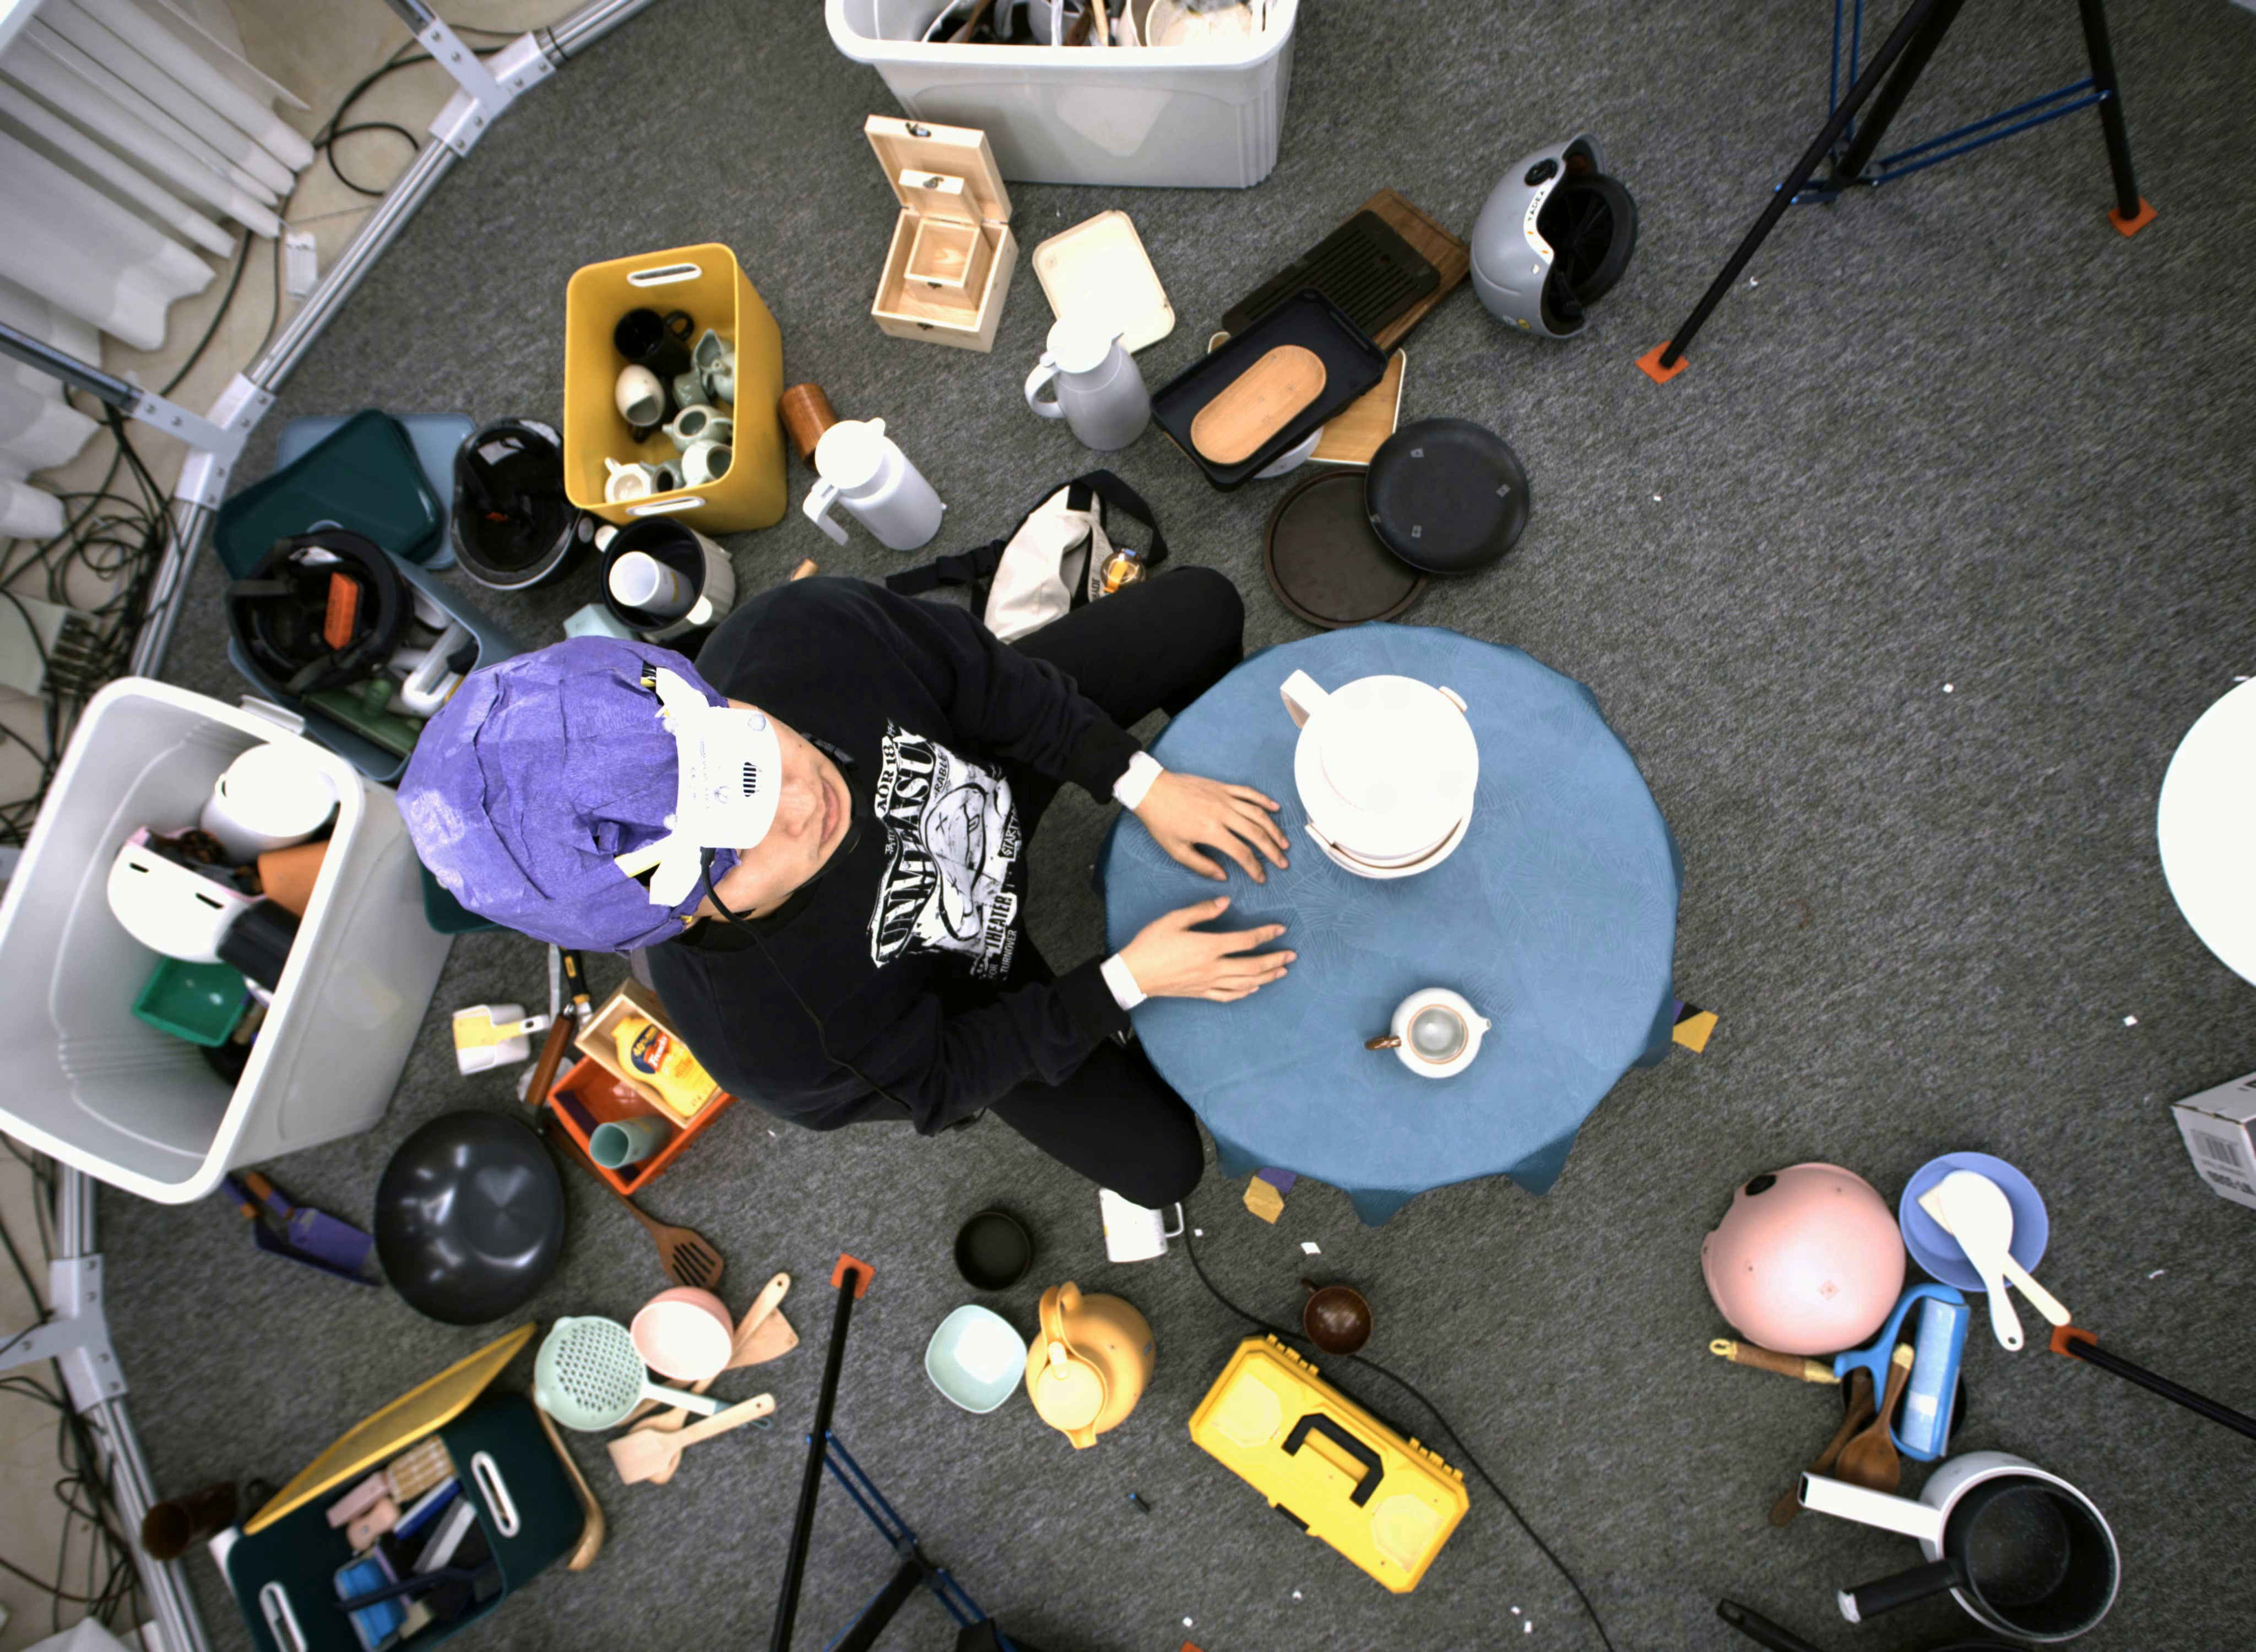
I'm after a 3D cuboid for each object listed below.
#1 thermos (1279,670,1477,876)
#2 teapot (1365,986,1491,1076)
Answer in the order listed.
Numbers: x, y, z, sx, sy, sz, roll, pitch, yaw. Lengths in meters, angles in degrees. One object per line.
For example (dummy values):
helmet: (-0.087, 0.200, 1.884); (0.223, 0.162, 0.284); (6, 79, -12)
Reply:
thermos: (0.227, -0.055, 1.274); (0.206, 0.406, 0.176); (44, 95, 10)
teapot: (0.307, 0.211, 1.417); (0.129, 0.059, 0.091); (-14, 89, 9)
